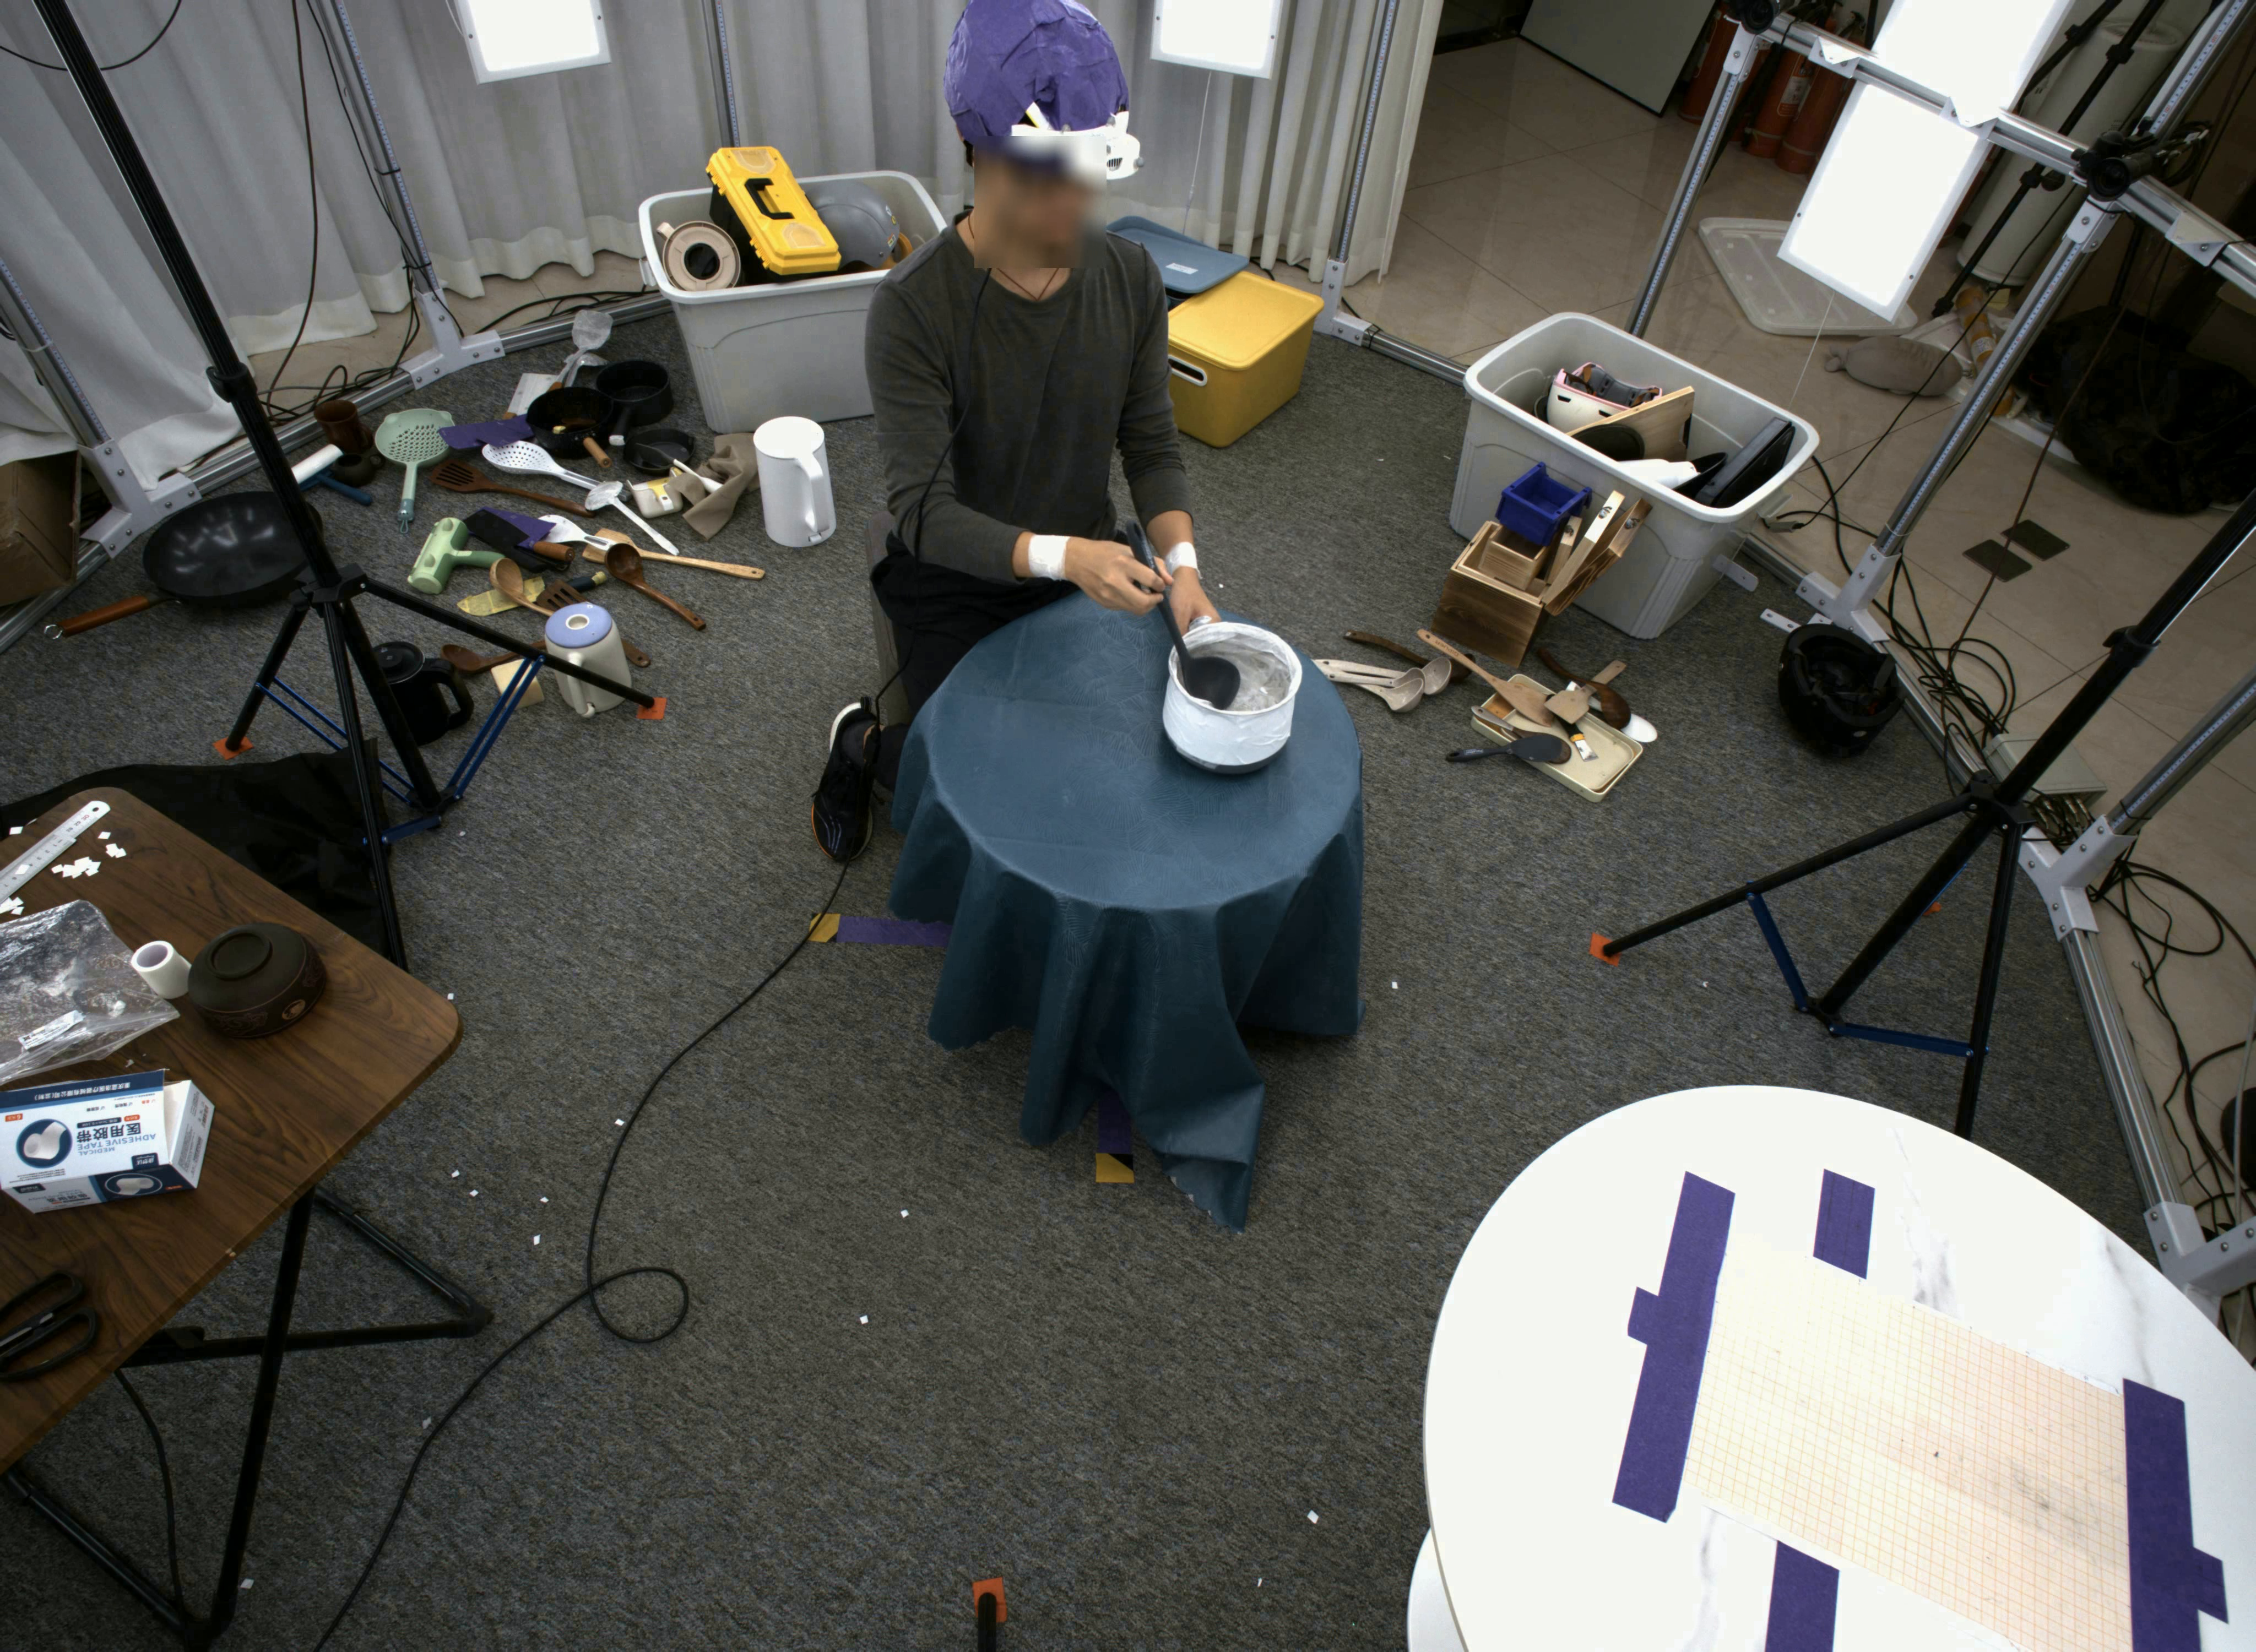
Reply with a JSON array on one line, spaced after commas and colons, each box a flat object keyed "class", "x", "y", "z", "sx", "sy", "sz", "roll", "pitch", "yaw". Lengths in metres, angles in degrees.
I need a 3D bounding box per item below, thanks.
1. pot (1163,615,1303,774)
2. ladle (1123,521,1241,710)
[{"class": "pot", "x": 0.127, "y": -0.189, "z": 1.751, "sx": 0.179, "sy": 0.133, "sz": 0.239, "roll": -15, "pitch": 52, "yaw": -17}, {"class": "ladle", "x": 0.069, "y": -0.266, "z": 1.632, "sx": 0.064, "sy": 0.306, "sz": 0.088, "roll": 5, "pitch": 55, "yaw": 28}]
